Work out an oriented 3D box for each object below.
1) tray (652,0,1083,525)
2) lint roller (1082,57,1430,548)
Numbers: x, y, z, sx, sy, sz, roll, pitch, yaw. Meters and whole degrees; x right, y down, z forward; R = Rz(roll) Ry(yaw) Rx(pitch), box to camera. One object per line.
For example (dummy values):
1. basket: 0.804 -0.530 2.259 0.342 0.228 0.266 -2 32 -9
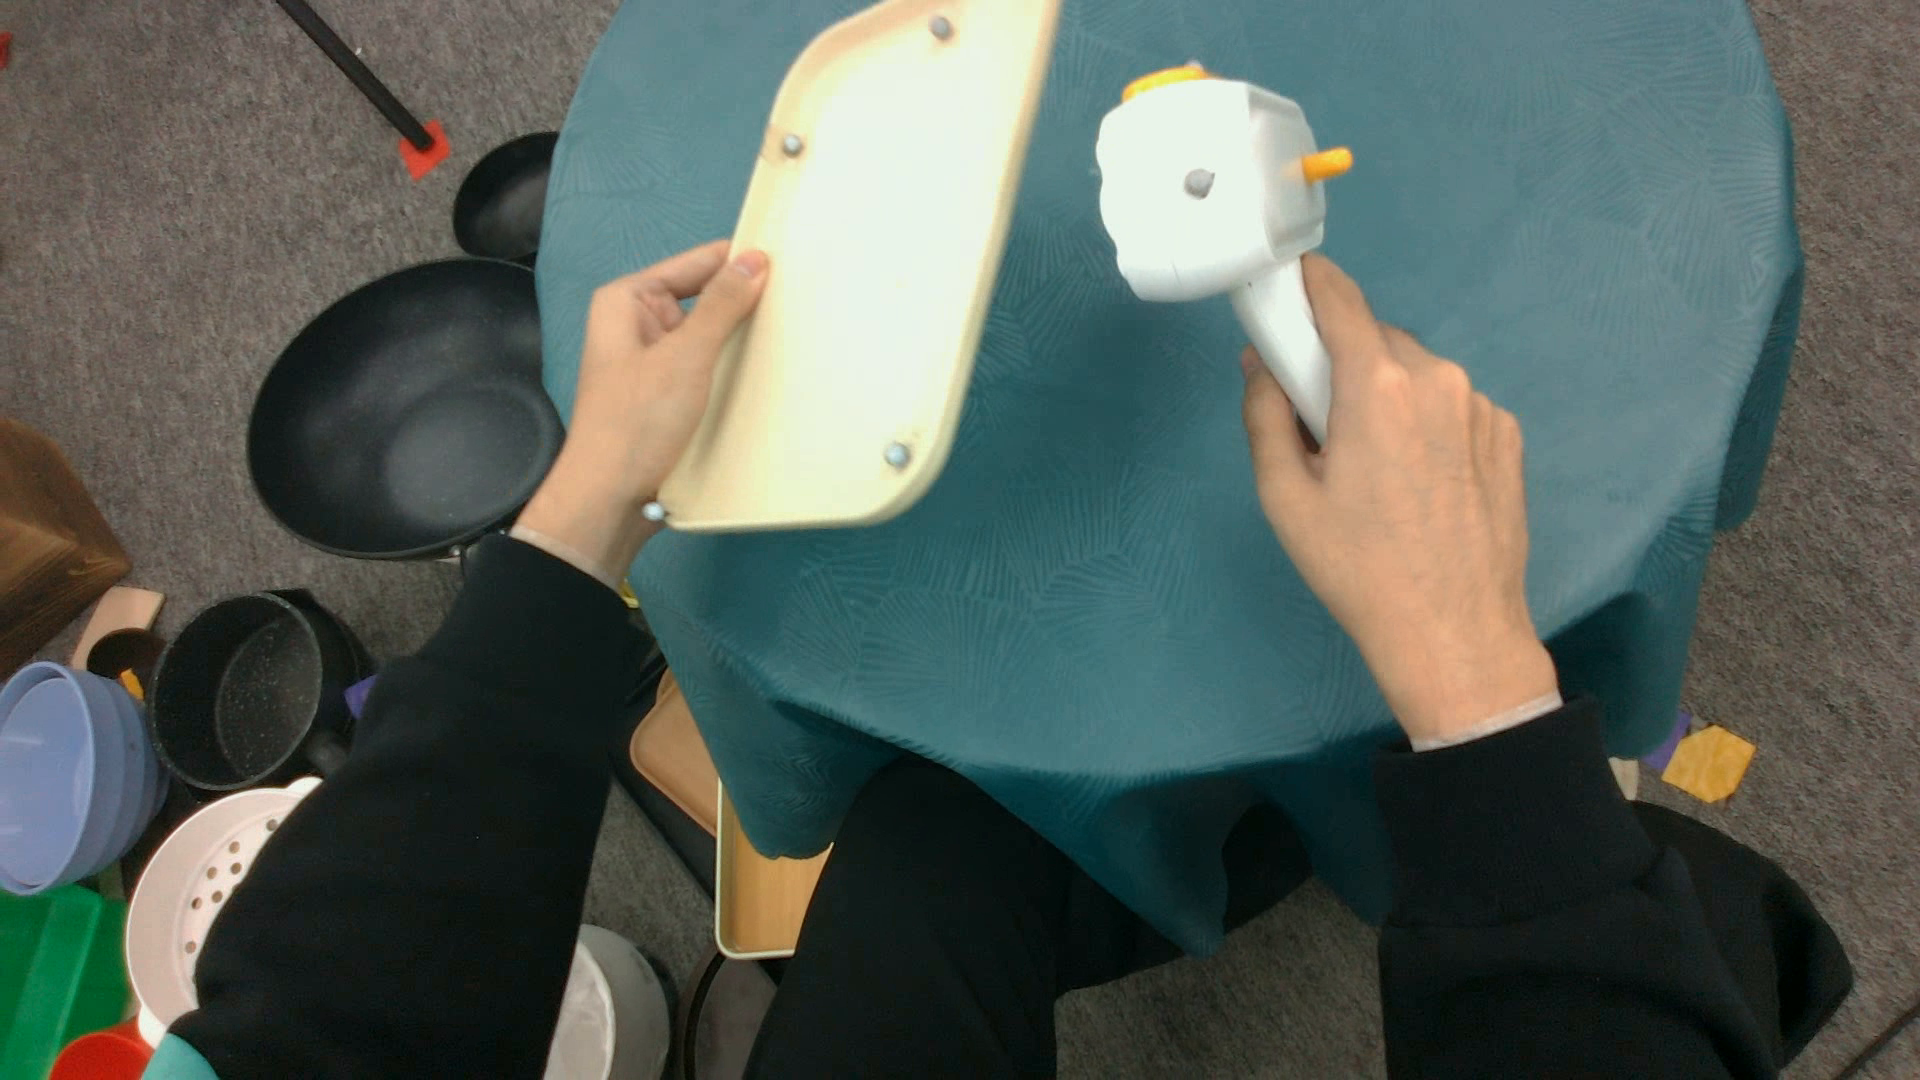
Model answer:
1. tray: -0.038 -0.115 0.546 0.171 0.017 0.240 0 67 44
2. lint roller: 0.113 -0.080 0.497 0.074 0.193 0.192 -18 102 18
